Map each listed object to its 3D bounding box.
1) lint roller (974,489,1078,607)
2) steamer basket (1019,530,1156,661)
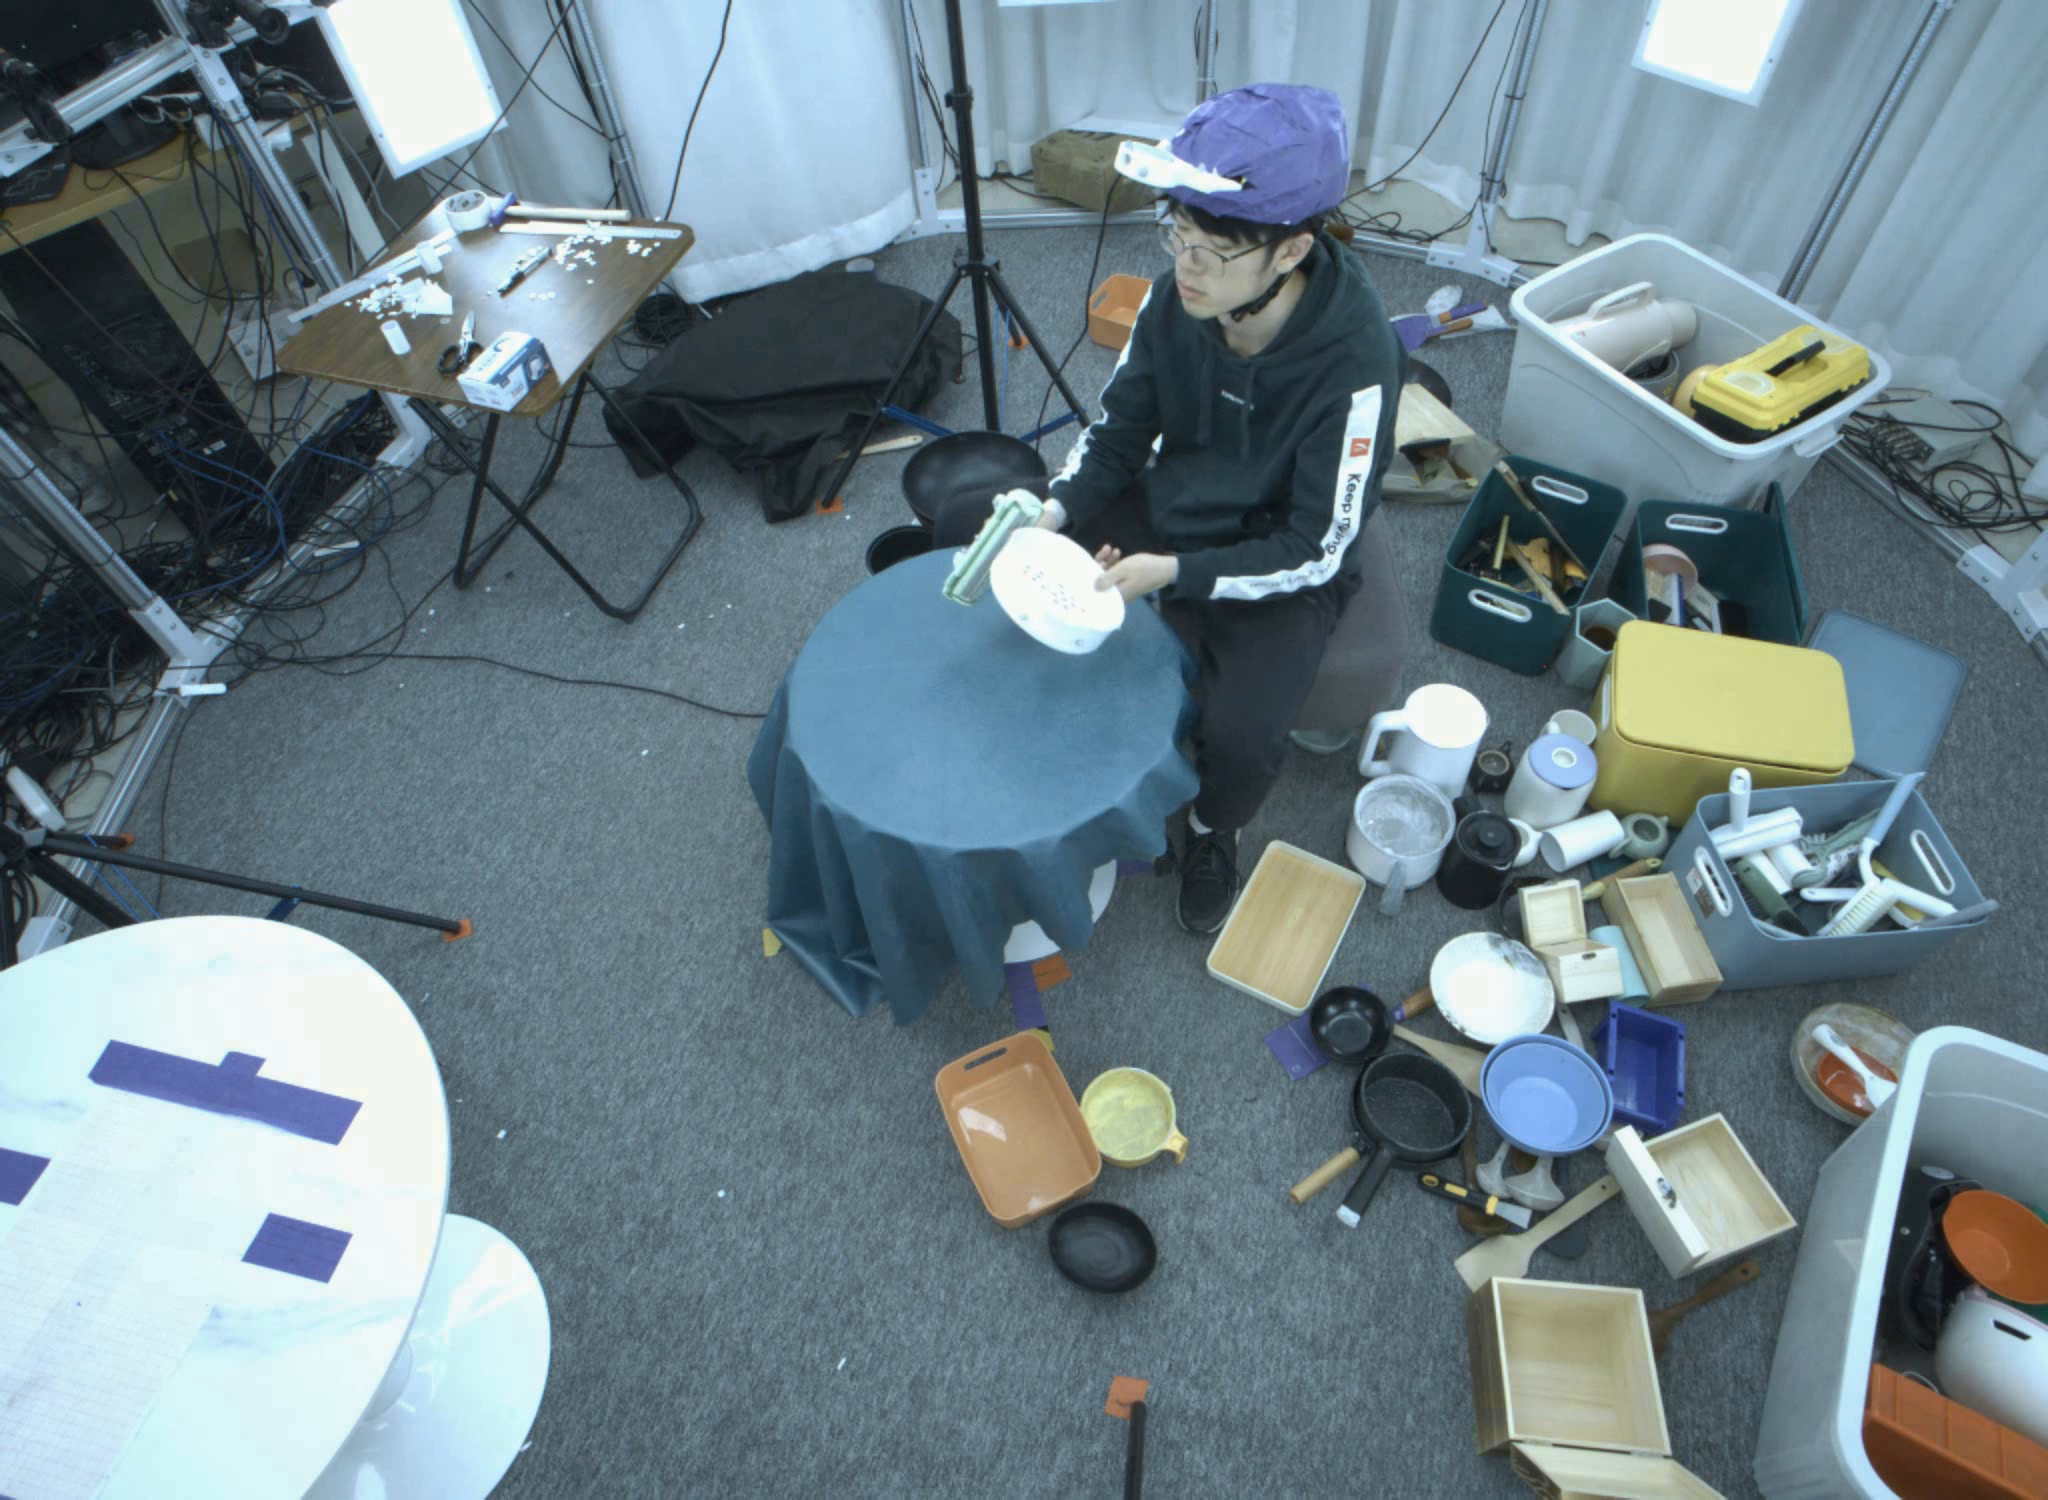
[{"bbox_3d":[0.023,-0.312,1.826,0.081,0.197,0.185,46,34,9],"label":"lint roller"},{"bbox_3d":[0.088,-0.215,1.727,0.204,0.069,0.229,34,36,-14],"label":"steamer basket"}]
